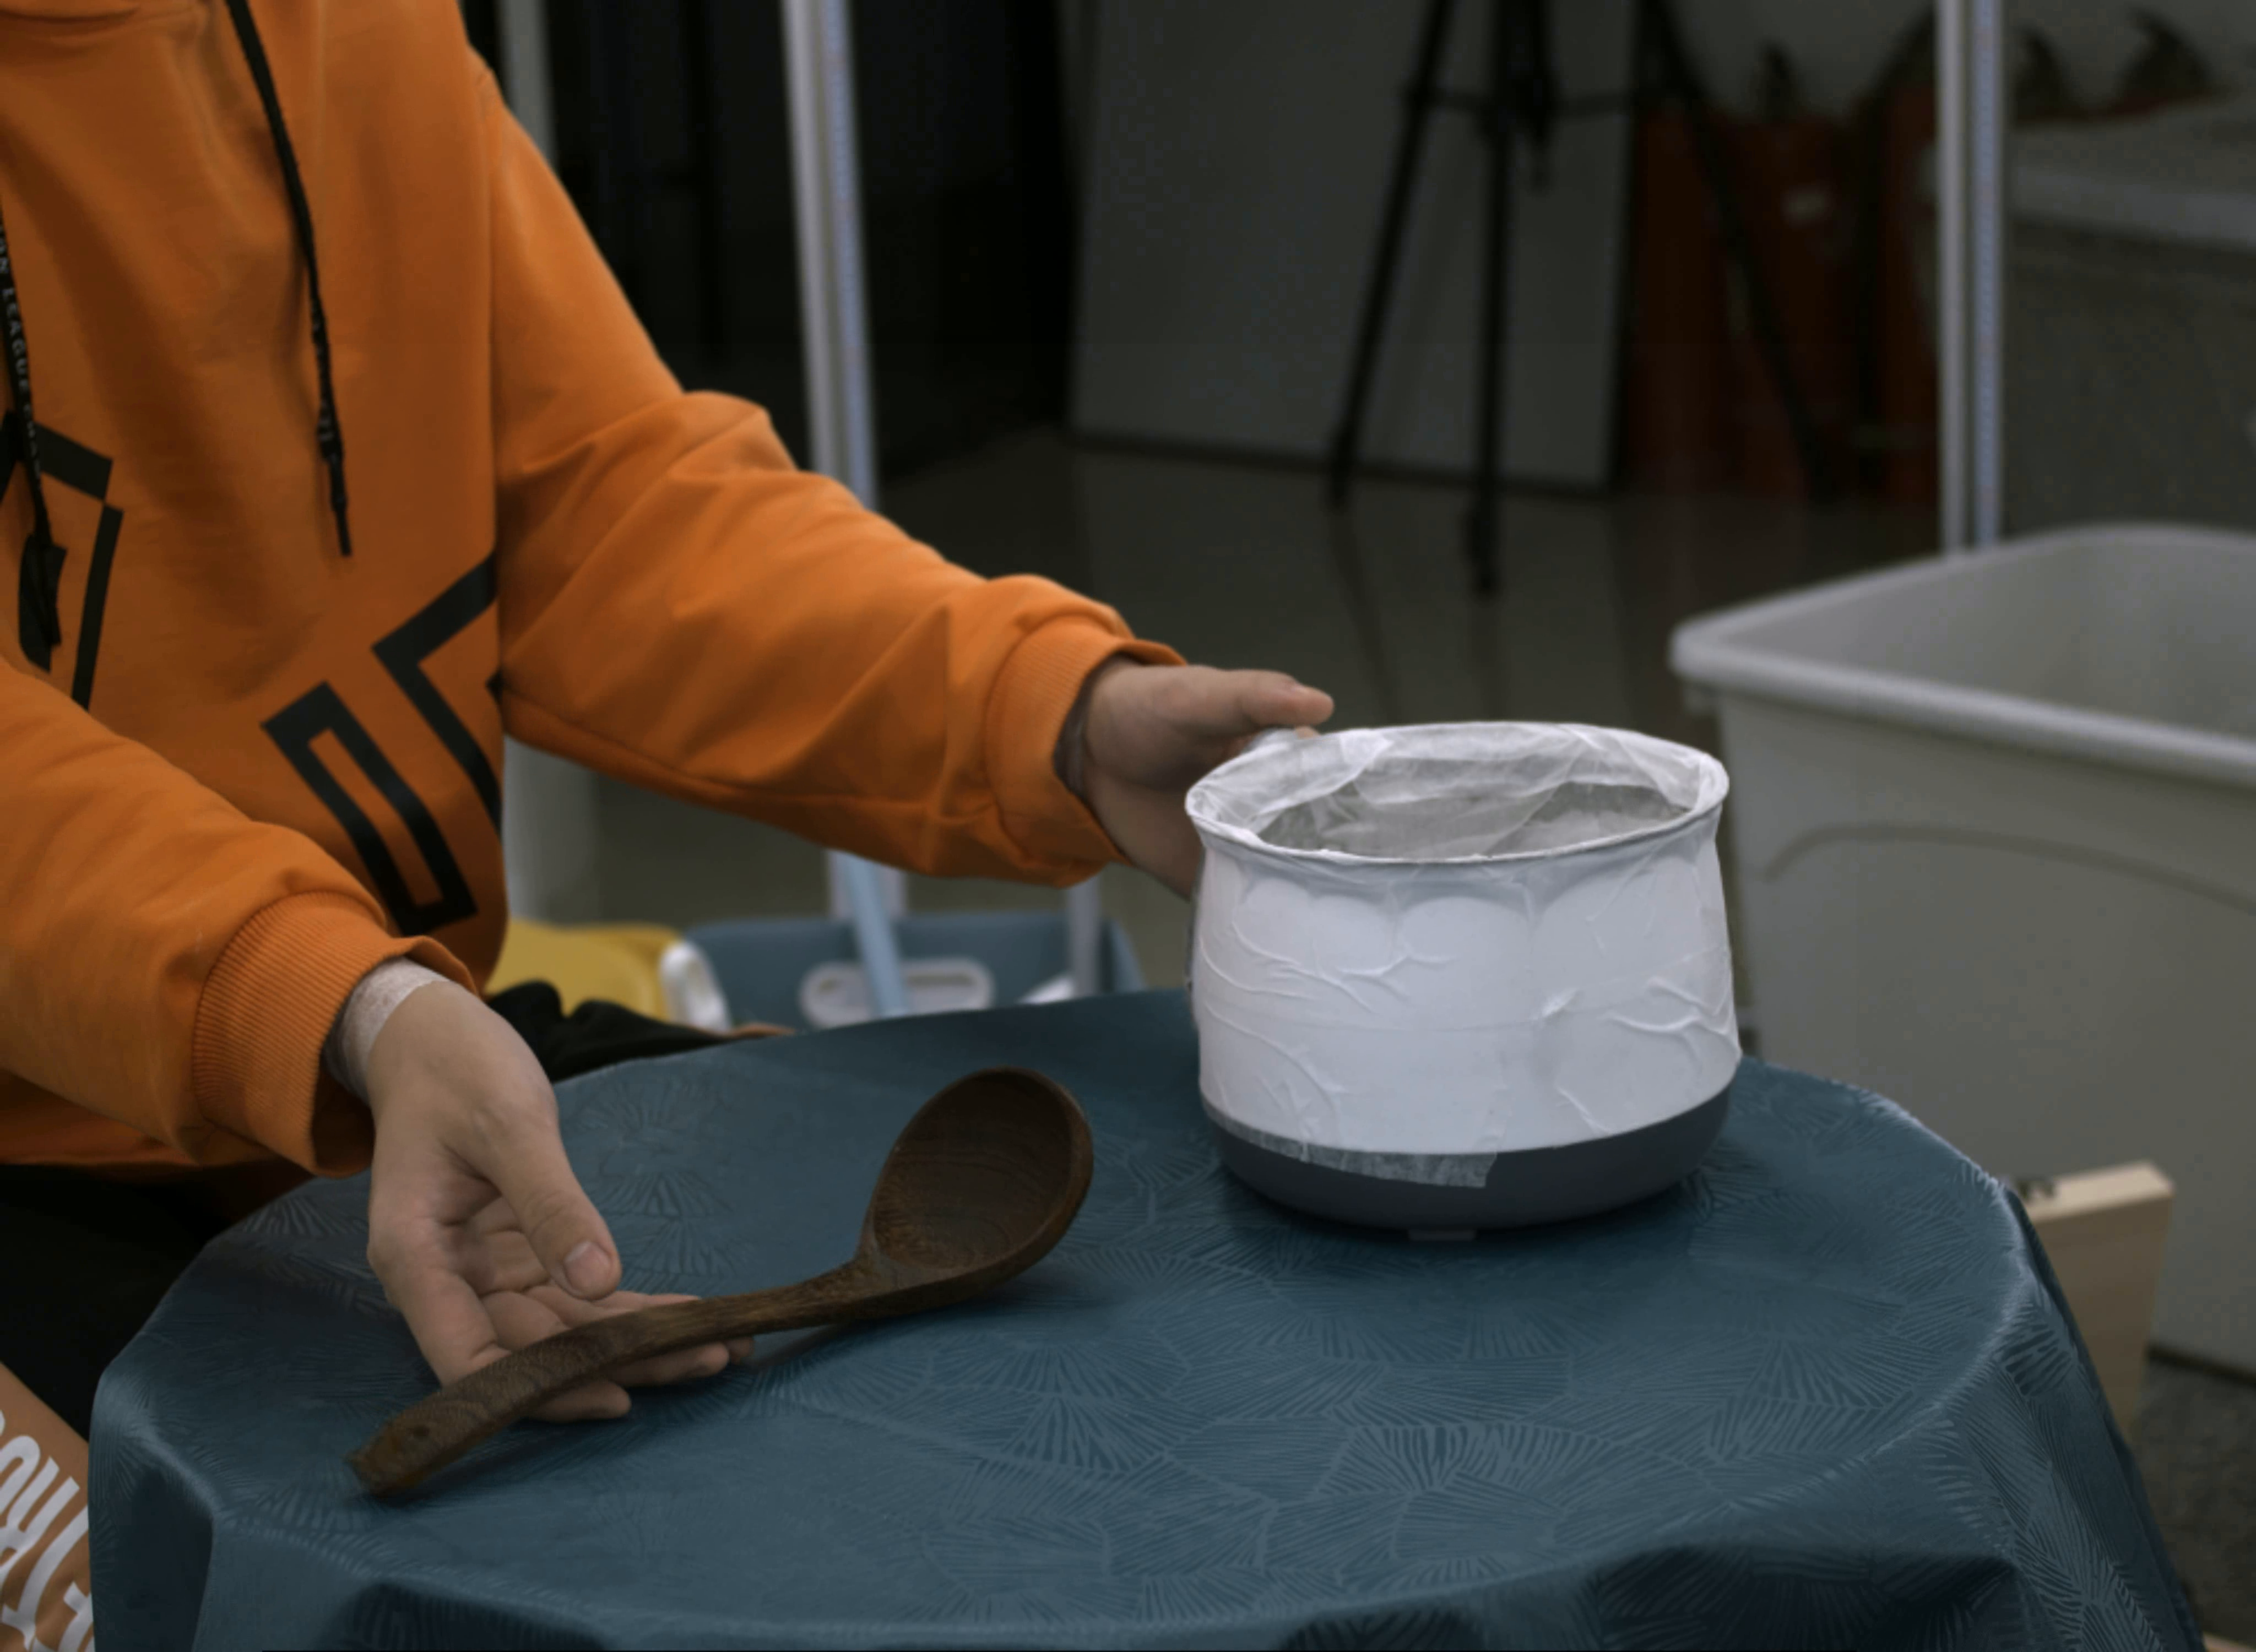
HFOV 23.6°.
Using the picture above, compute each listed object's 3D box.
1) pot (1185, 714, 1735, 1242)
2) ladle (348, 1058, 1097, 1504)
[{"bbox_3d":[0.093,0.043,1.771,0.175,0.138,0.236,-12,16,-33],"label":"pot"},{"bbox_3d":[-0.119,0.131,1.614,0.268,0.072,0.077,-15,23,-42],"label":"ladle"}]
